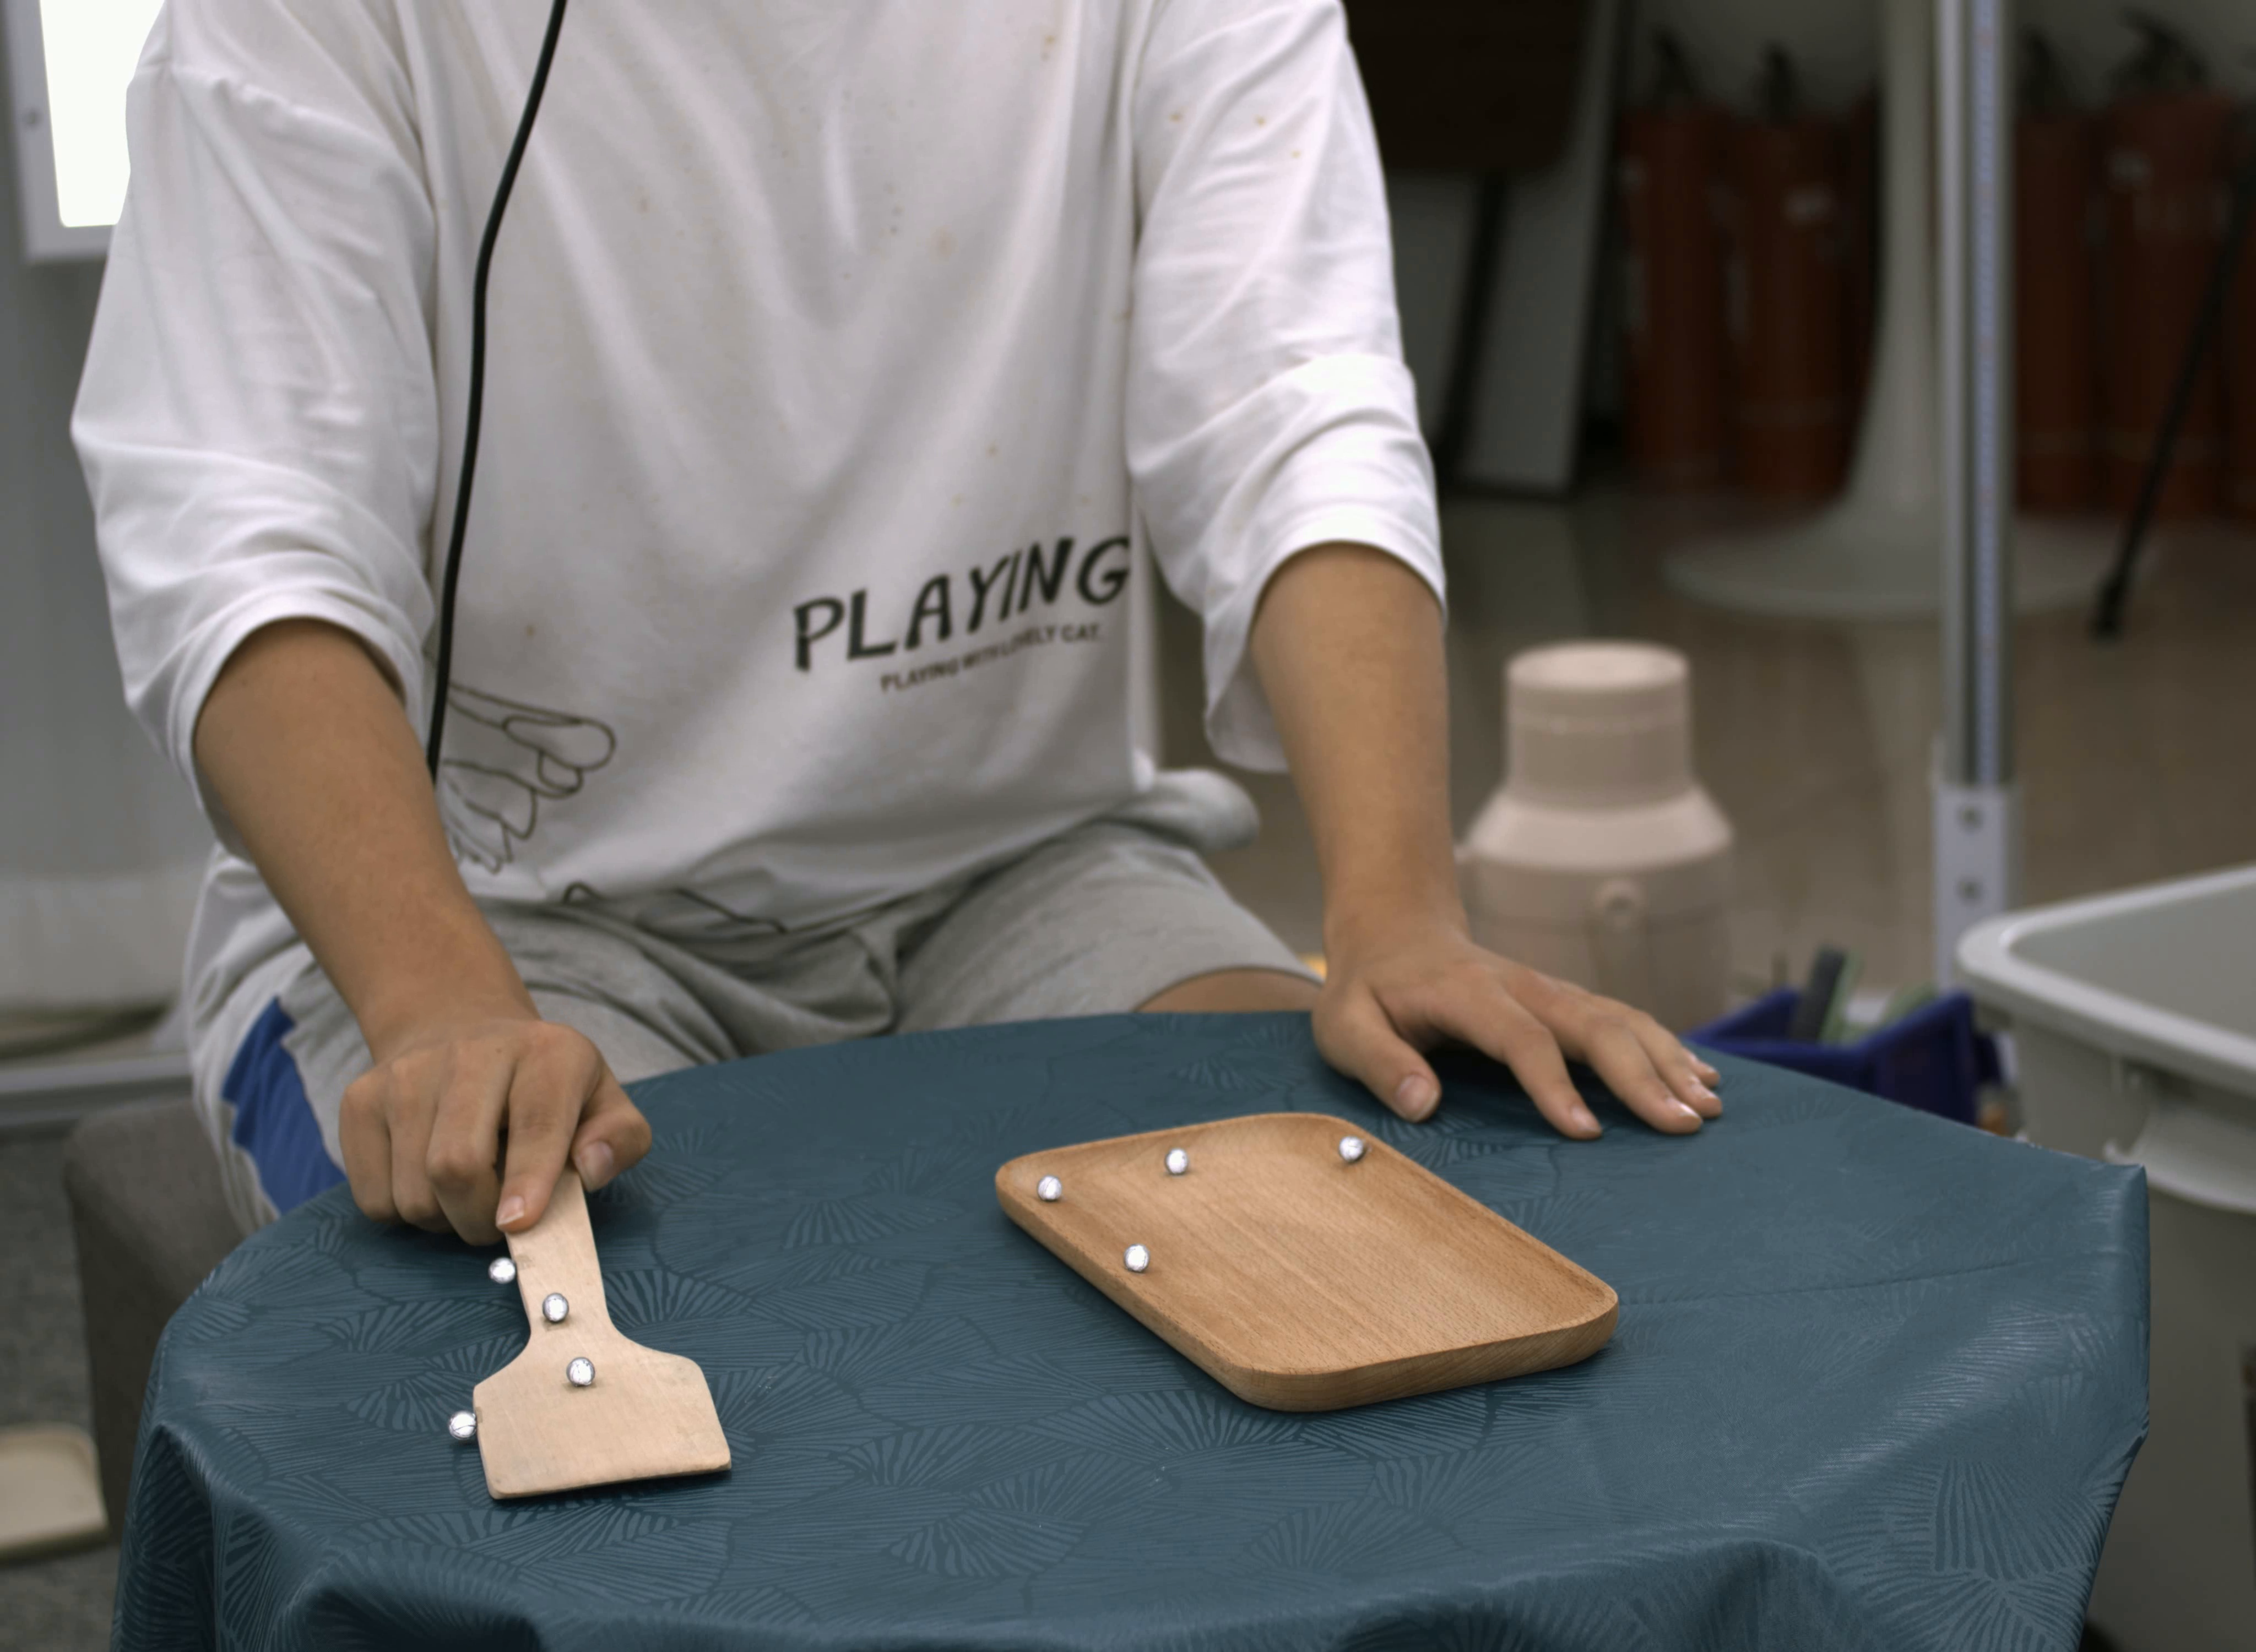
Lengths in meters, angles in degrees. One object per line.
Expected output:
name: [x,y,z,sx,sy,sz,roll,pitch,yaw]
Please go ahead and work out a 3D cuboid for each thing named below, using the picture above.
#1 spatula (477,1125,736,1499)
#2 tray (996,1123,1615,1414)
spatula: [-0.173,0.146,1.667,0.071,0.011,0.295,-8,18,-9]
tray: [0.051,0.135,1.672,0.128,0.023,0.253,-11,15,-17]
